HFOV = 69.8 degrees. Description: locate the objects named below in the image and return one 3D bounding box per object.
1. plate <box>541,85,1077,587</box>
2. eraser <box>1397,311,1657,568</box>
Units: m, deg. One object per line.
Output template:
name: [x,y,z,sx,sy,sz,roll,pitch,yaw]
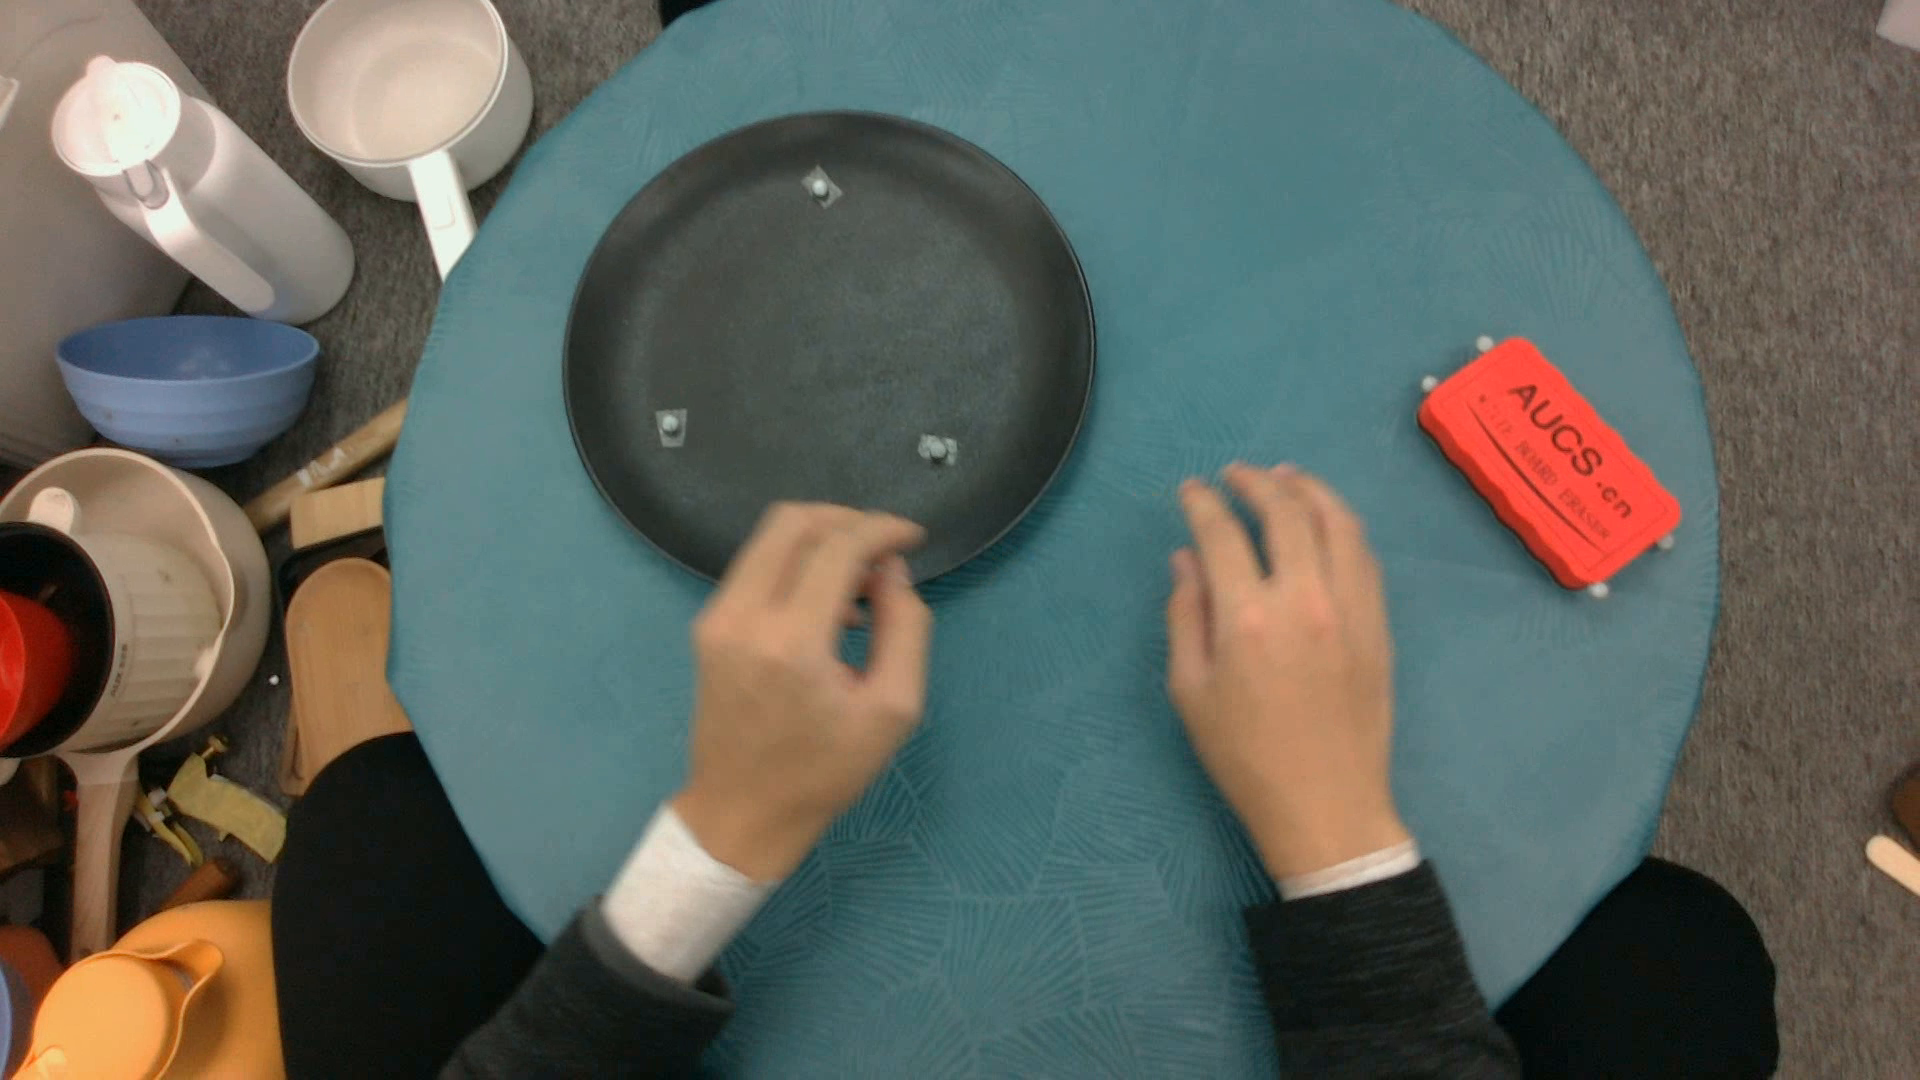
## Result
plate: [-0.069,-0.096,0.631,0.244,0.023,0.245,0,76,1]
eraser: [0.248,-0.045,0.605,0.059,0.023,0.108,-36,79,-6]
